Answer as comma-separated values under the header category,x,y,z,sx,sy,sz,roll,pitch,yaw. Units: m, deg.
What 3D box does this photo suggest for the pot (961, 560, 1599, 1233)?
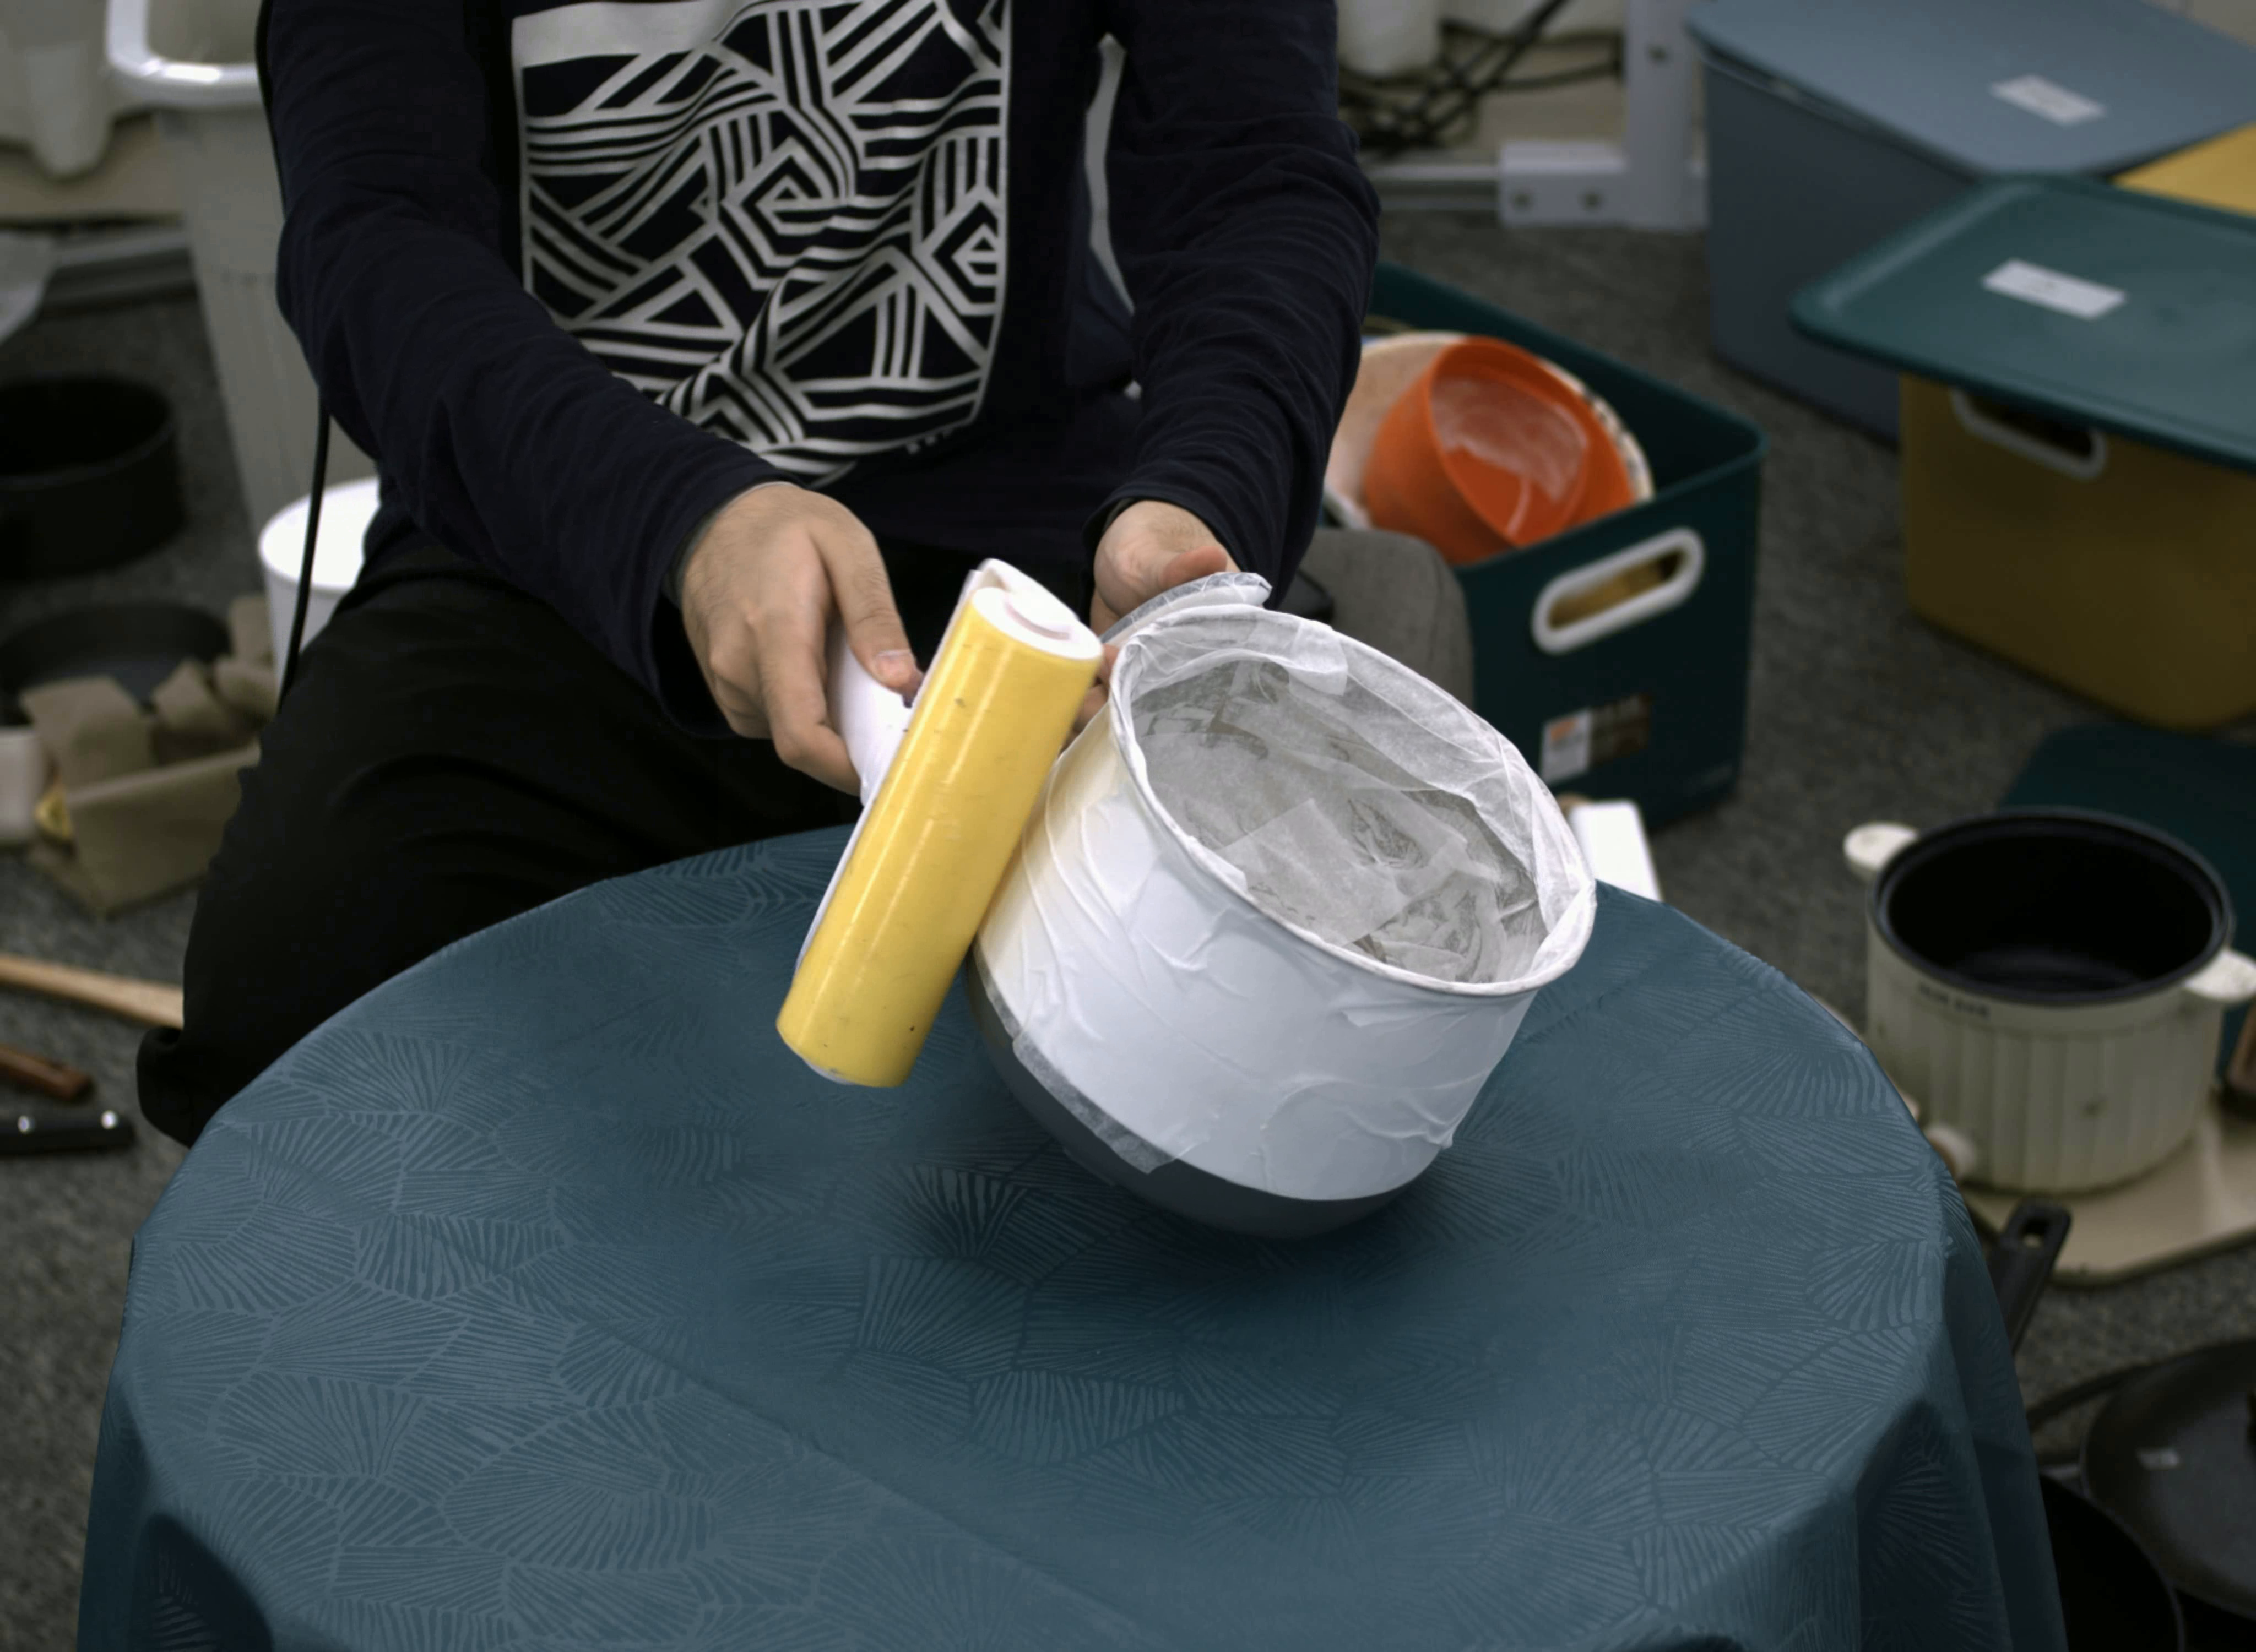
category,x,y,z,sx,sy,sz,roll,pitch,yaw
pot,0.035,0.012,1.840,0.179,0.134,0.237,10,40,-35

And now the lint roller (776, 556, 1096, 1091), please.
category,x,y,z,sx,sy,sz,roll,pitch,yaw
lint roller,-0.091,-0.029,1.852,0.051,0.173,0.193,12,20,-34
